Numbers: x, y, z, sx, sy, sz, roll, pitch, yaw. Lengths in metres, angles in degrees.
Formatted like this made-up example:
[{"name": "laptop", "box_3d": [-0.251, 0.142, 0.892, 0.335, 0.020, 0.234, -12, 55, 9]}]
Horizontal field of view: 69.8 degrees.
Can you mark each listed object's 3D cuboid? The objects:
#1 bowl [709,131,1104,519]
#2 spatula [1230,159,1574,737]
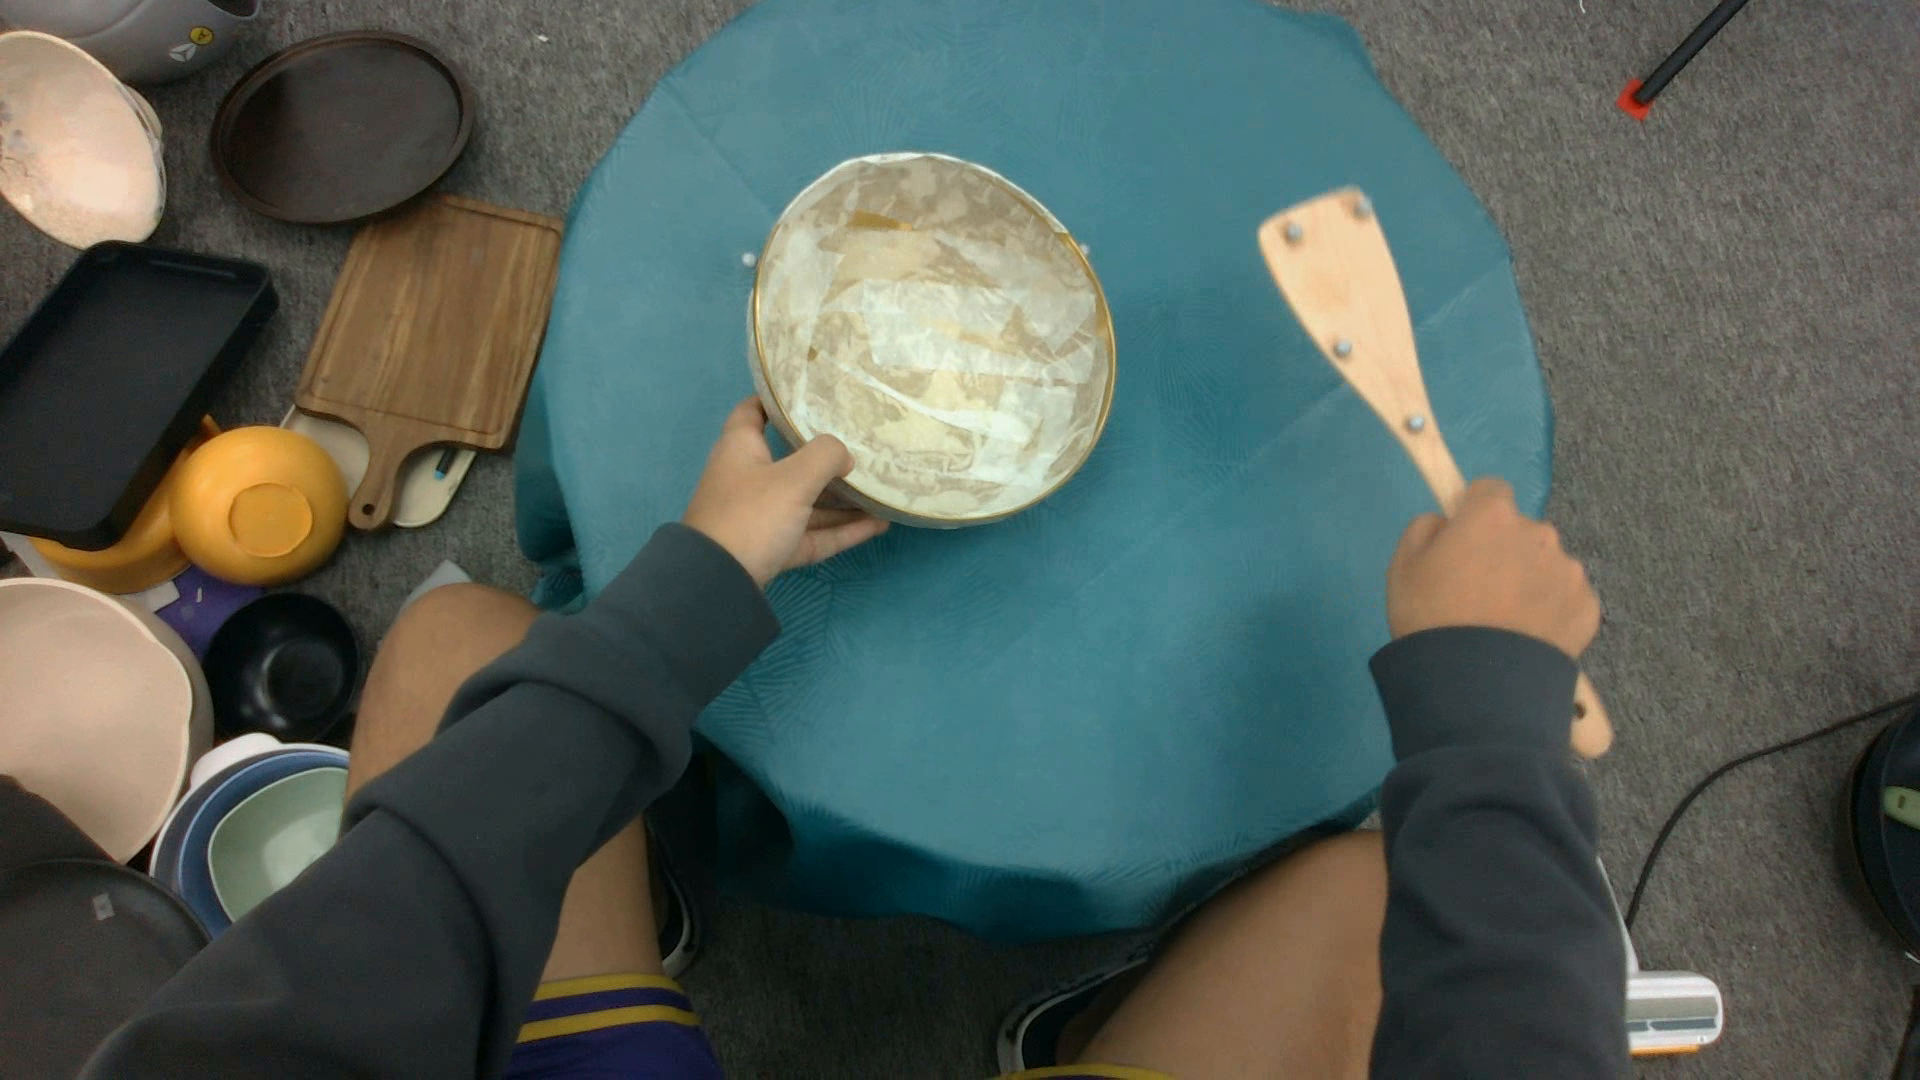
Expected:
[{"name": "bowl", "box_3d": [-0.036, -0.103, 0.740, 0.215, 0.094, 0.215, 6, 74, -22]}, {"name": "spatula", "box_3d": [0.229, -0.053, 0.703, 0.080, 0.016, 0.328, -15, 72, -23]}]
